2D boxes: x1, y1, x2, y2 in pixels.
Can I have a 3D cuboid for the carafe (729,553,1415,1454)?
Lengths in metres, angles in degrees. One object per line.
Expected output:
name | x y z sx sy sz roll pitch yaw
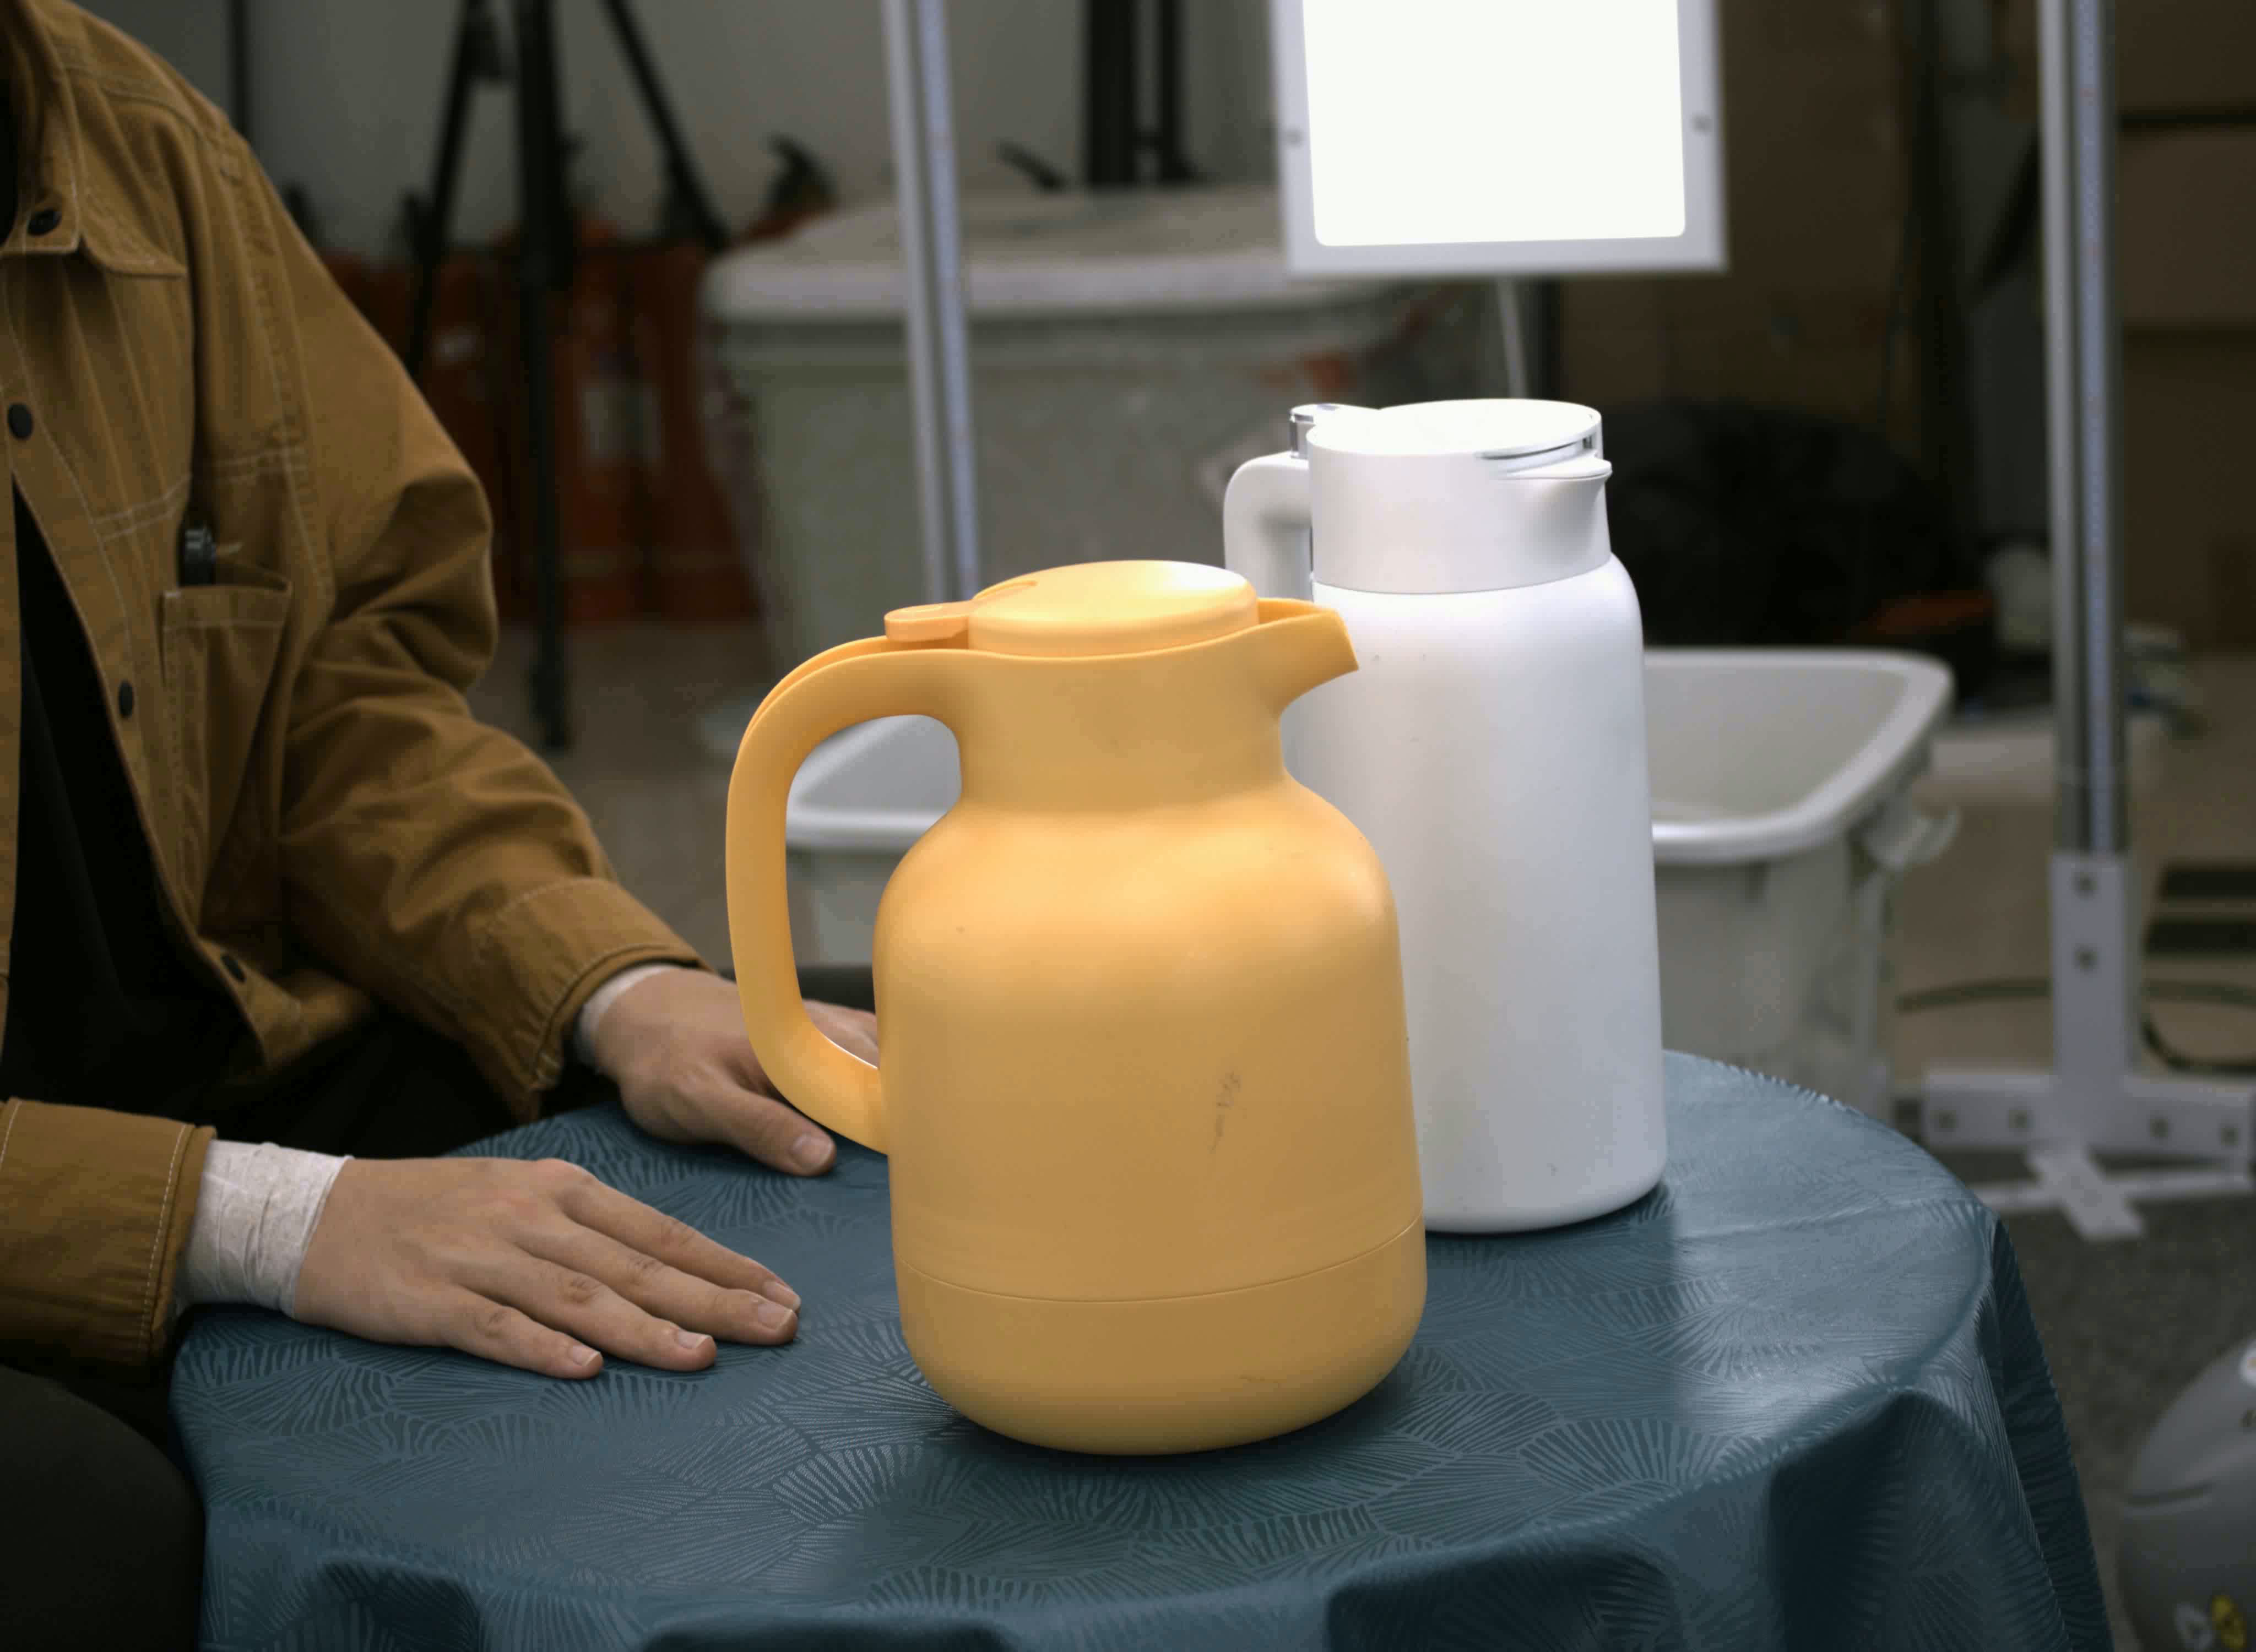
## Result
carafe | -0.017 0.050 1.666 0.202 0.261 0.162 -2 11 4

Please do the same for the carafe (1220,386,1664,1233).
carafe | 0.103 -0.008 1.846 0.121 0.270 0.176 -18 19 -38
